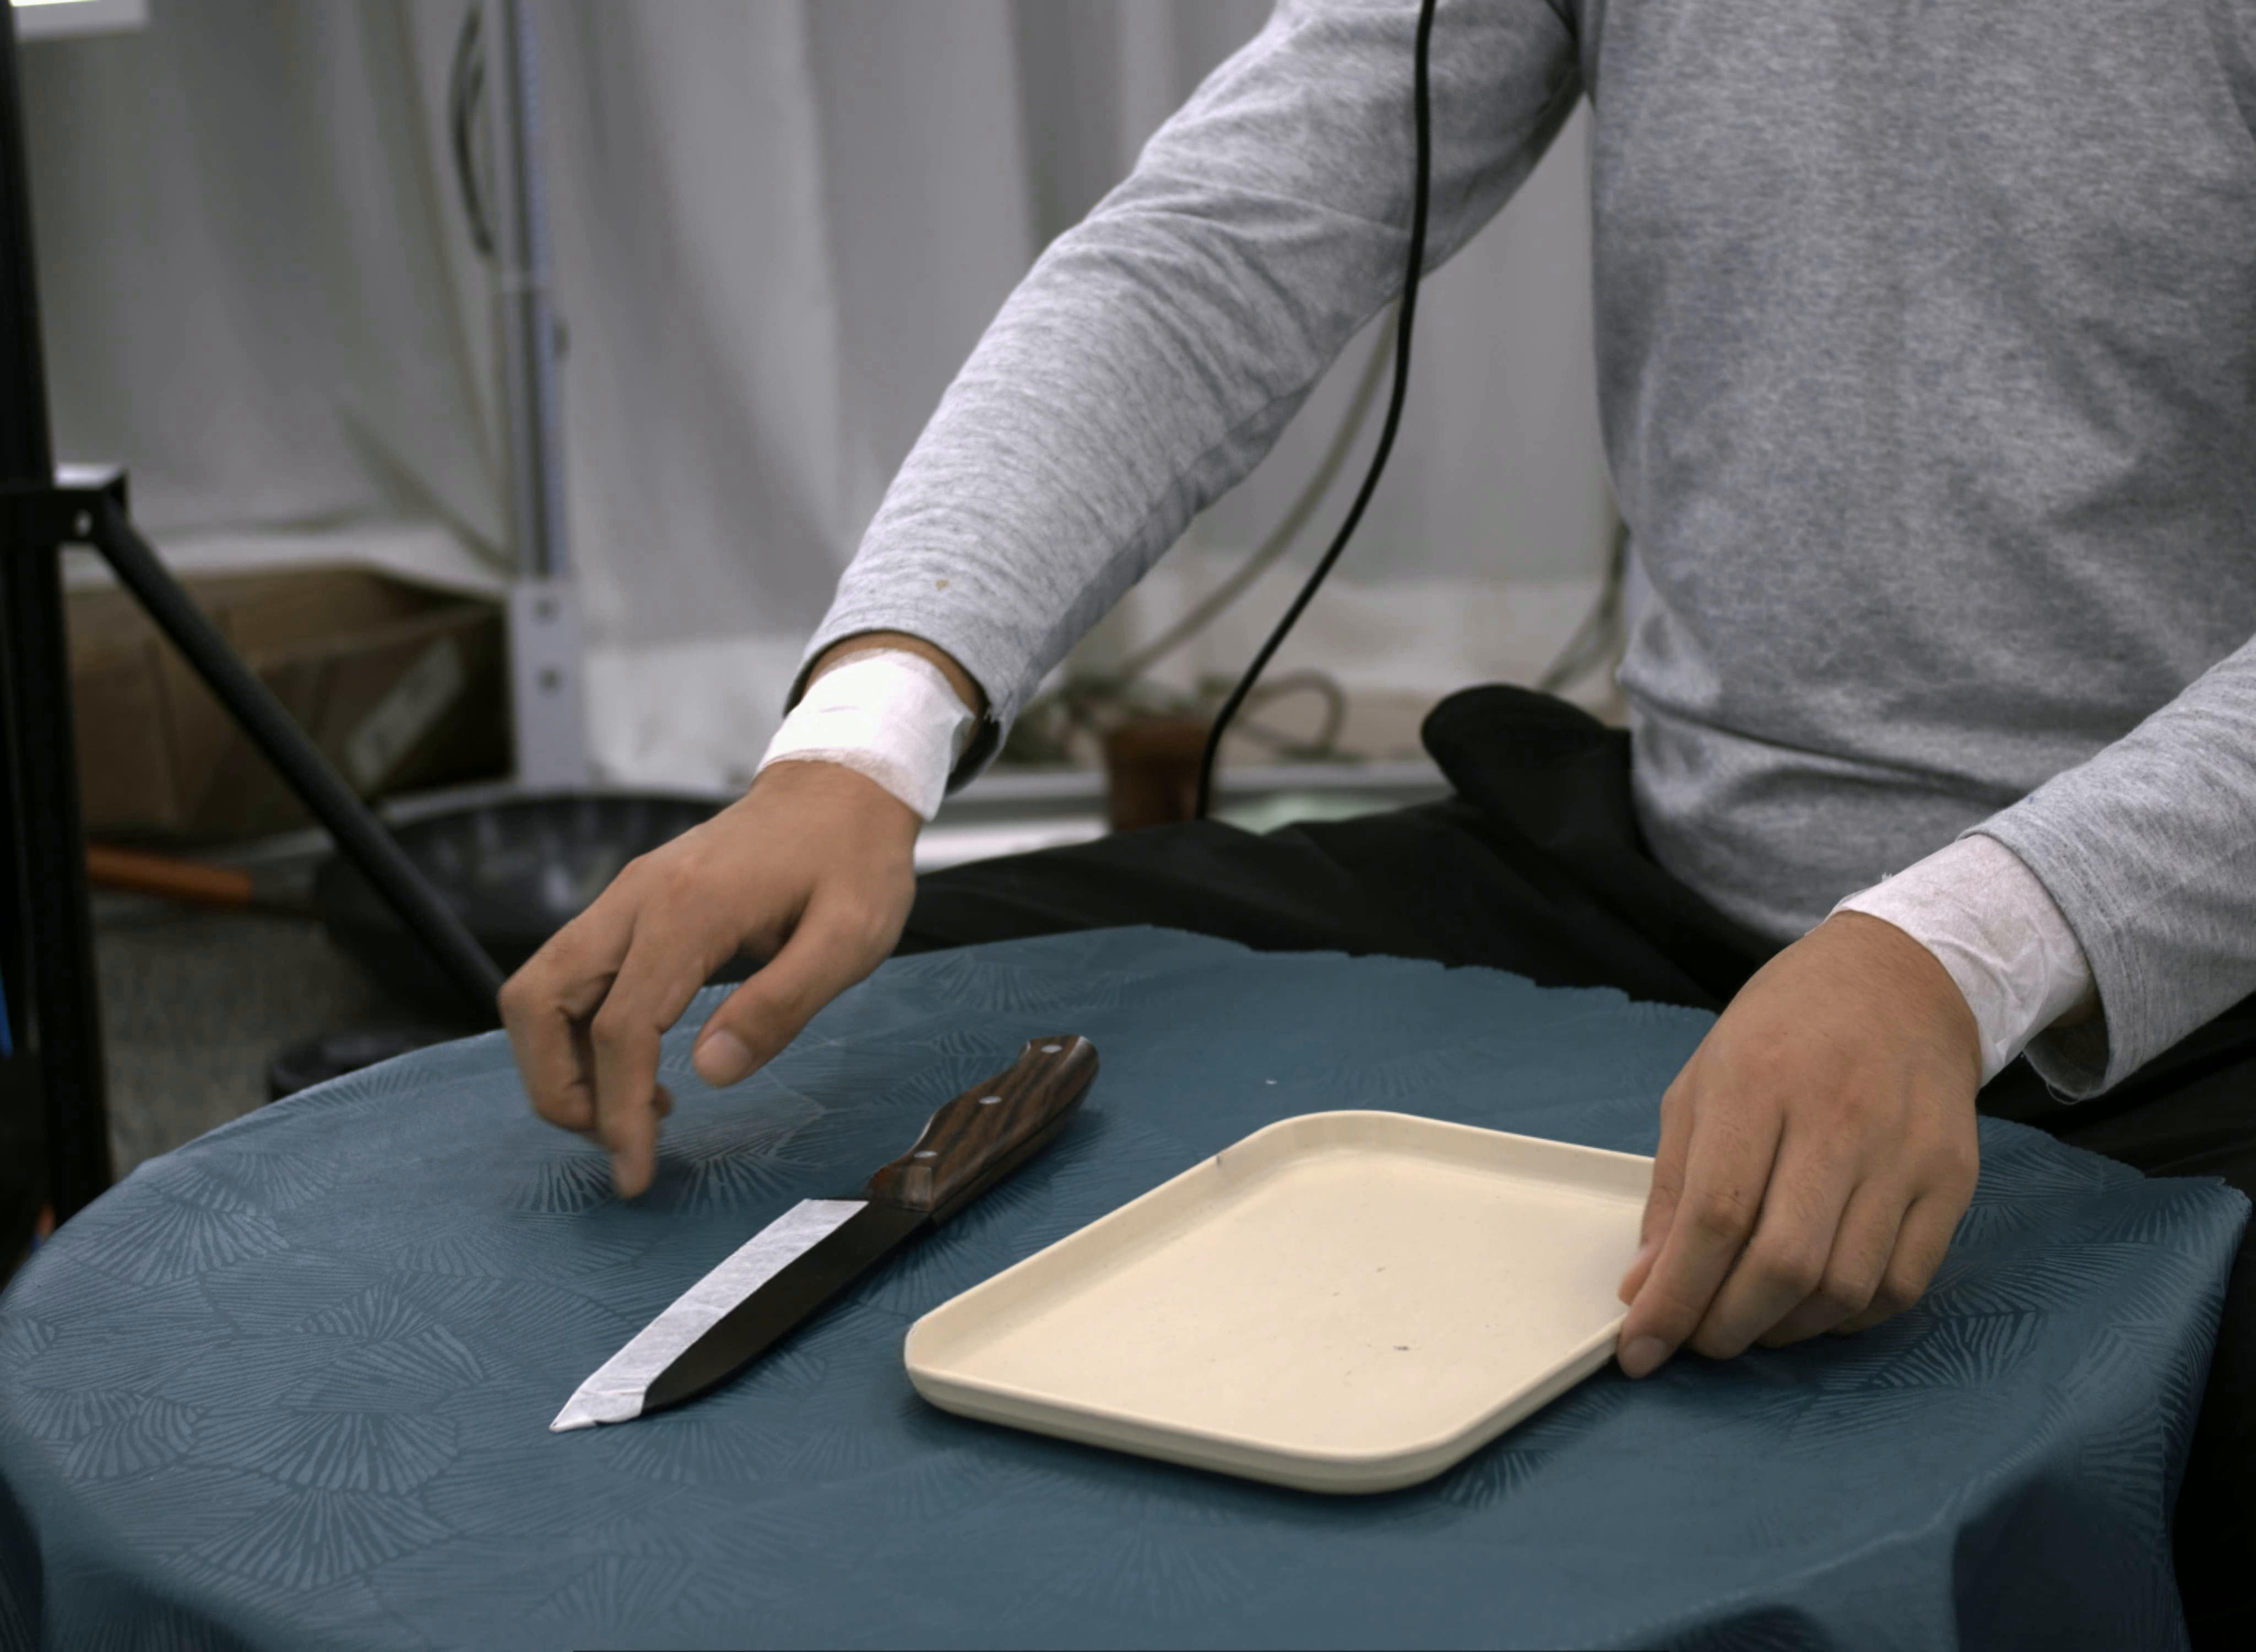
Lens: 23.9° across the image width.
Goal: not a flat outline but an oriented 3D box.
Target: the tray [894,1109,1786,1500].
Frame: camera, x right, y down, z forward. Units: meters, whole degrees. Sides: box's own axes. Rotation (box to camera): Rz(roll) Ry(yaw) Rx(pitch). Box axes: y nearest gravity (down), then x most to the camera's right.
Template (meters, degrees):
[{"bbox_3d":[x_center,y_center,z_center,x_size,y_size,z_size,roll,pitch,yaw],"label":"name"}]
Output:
[{"bbox_3d":[0.062,0.129,1.448,0.175,0.017,0.235,9,19,34],"label":"tray"}]

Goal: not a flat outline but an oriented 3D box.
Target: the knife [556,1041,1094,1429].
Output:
[{"bbox_3d":[-0.081,0.116,1.518,0.051,0.020,0.284,0,18,29],"label":"knife"}]
